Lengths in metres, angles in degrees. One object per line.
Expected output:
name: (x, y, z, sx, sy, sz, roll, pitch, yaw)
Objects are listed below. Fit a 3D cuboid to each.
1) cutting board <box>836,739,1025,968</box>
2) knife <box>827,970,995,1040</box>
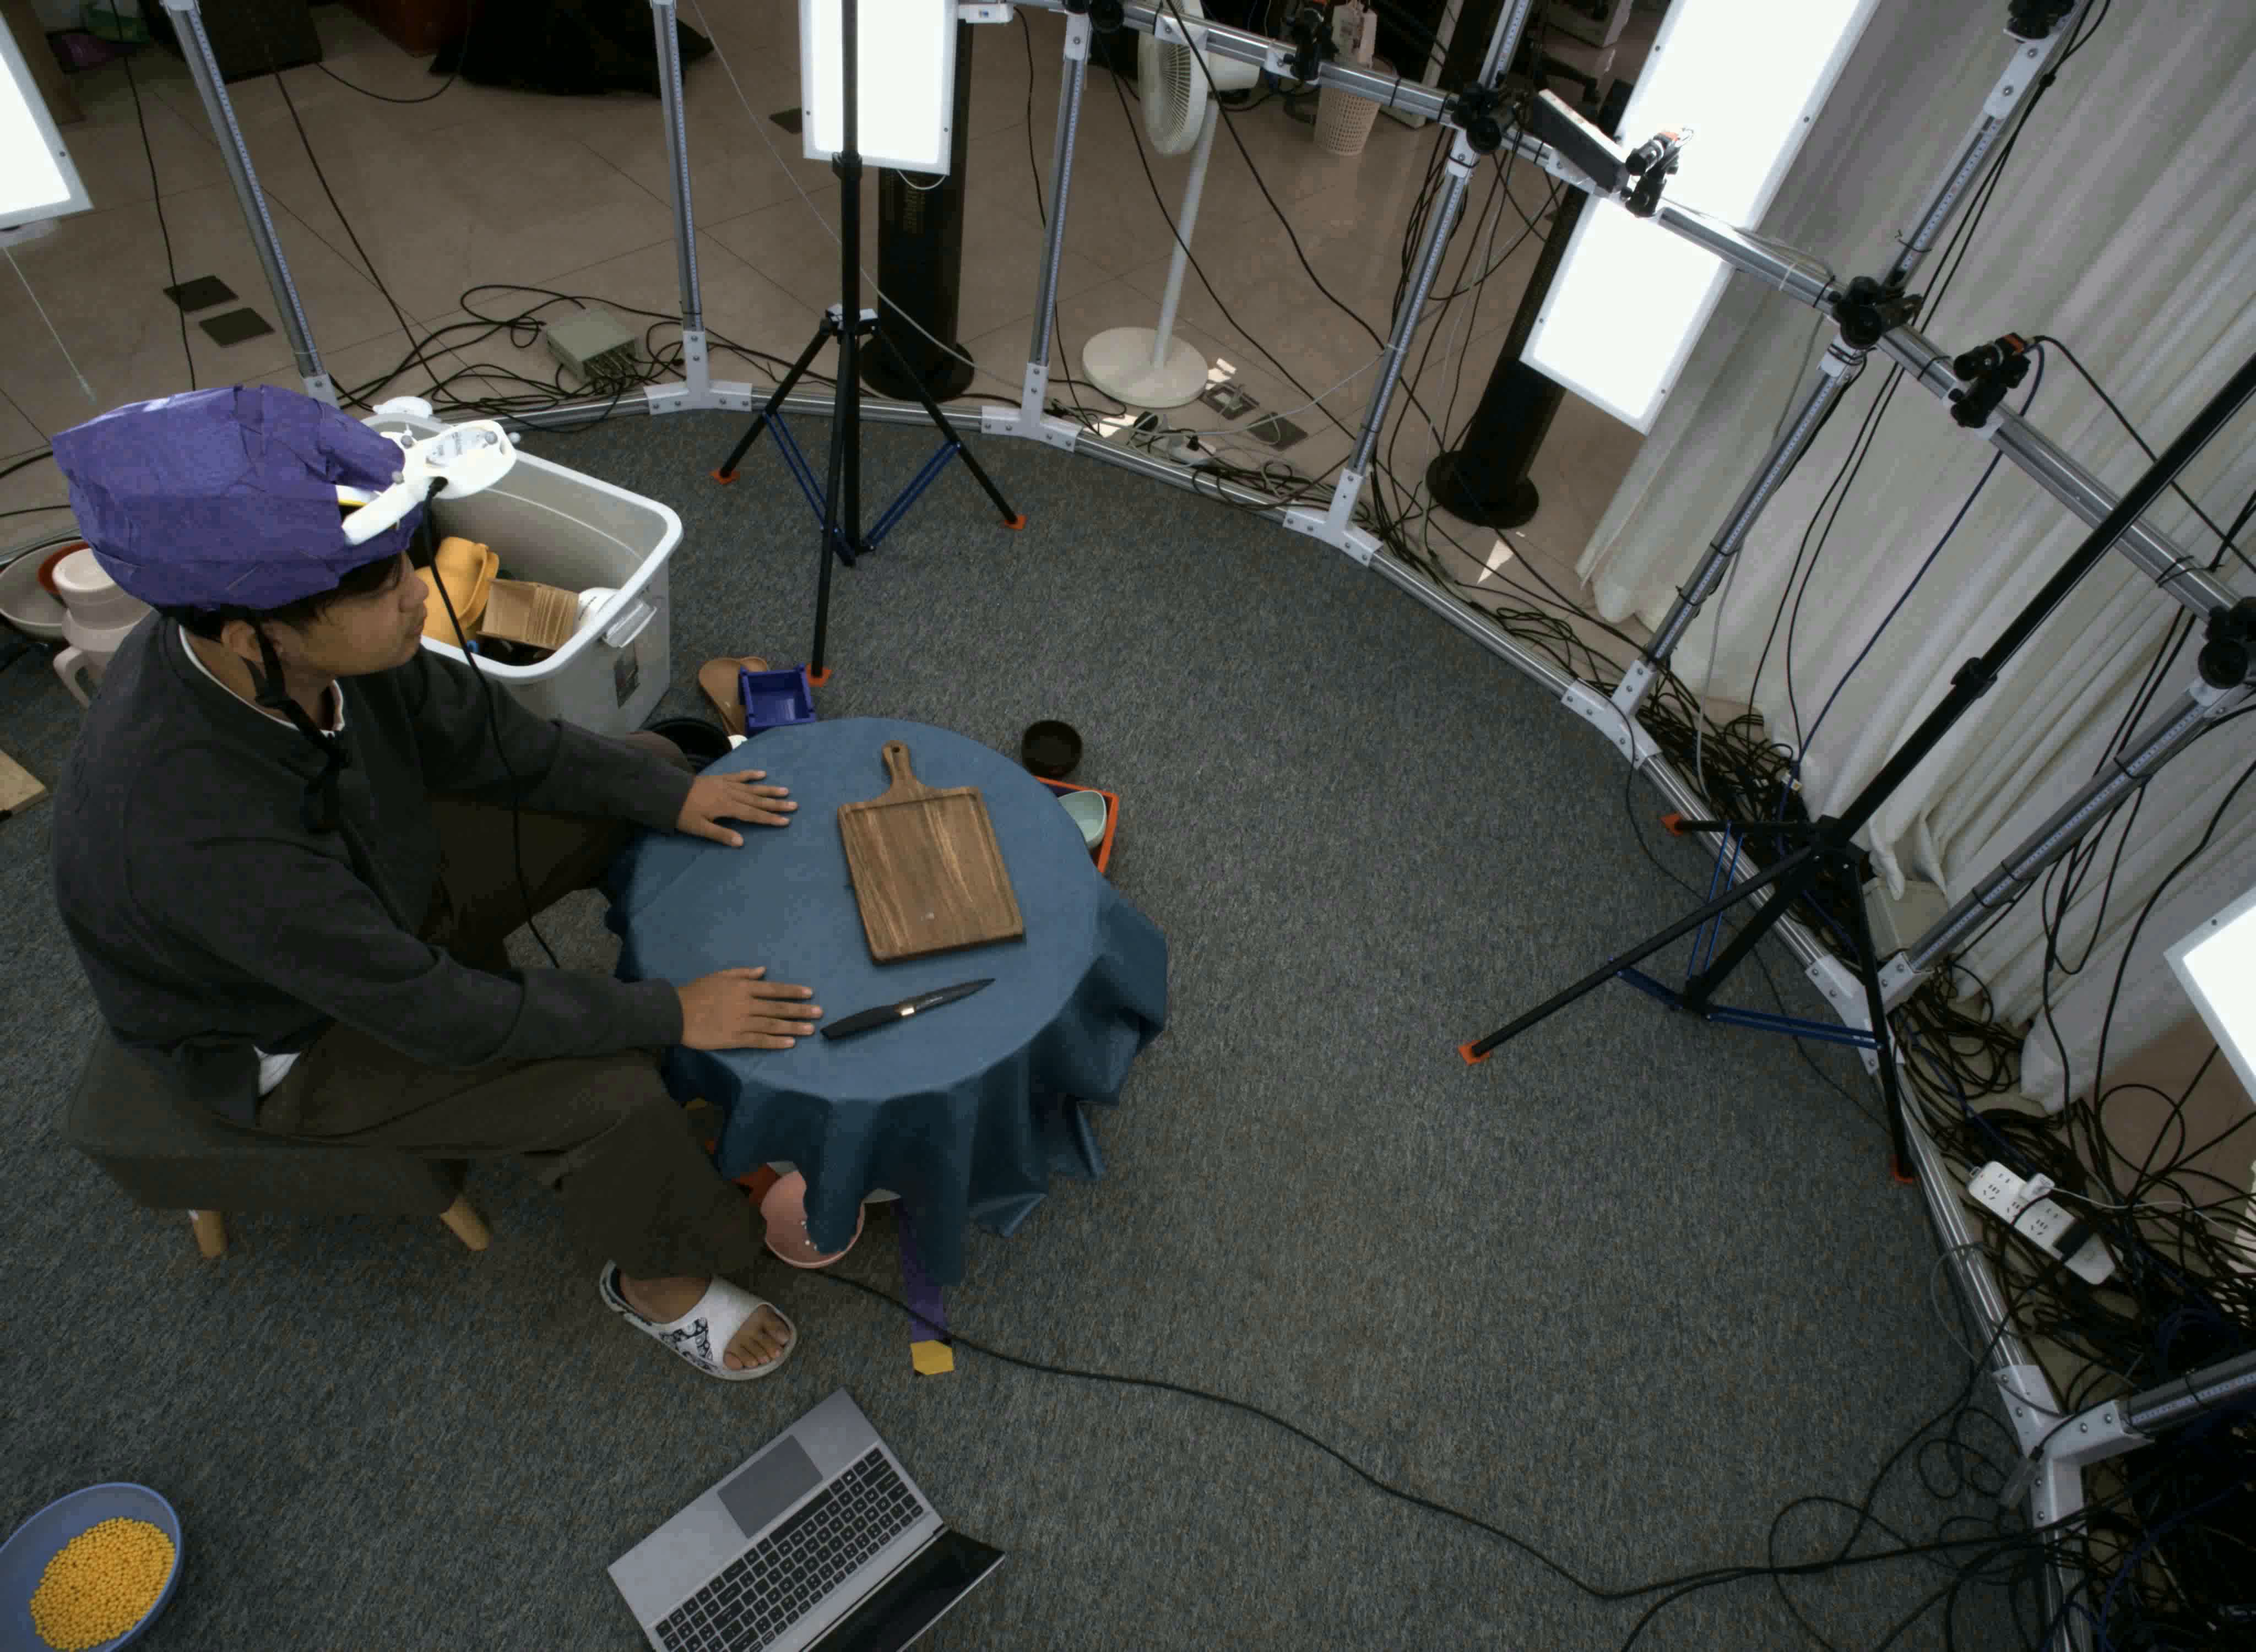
cutting board: (-0.276, 0.020, 1.729, 0.202, 0.023, 0.343, -9, 57, -20)
knife: (-0.263, 0.215, 1.593, 0.227, 0.018, 0.025, -17, 52, -26)
